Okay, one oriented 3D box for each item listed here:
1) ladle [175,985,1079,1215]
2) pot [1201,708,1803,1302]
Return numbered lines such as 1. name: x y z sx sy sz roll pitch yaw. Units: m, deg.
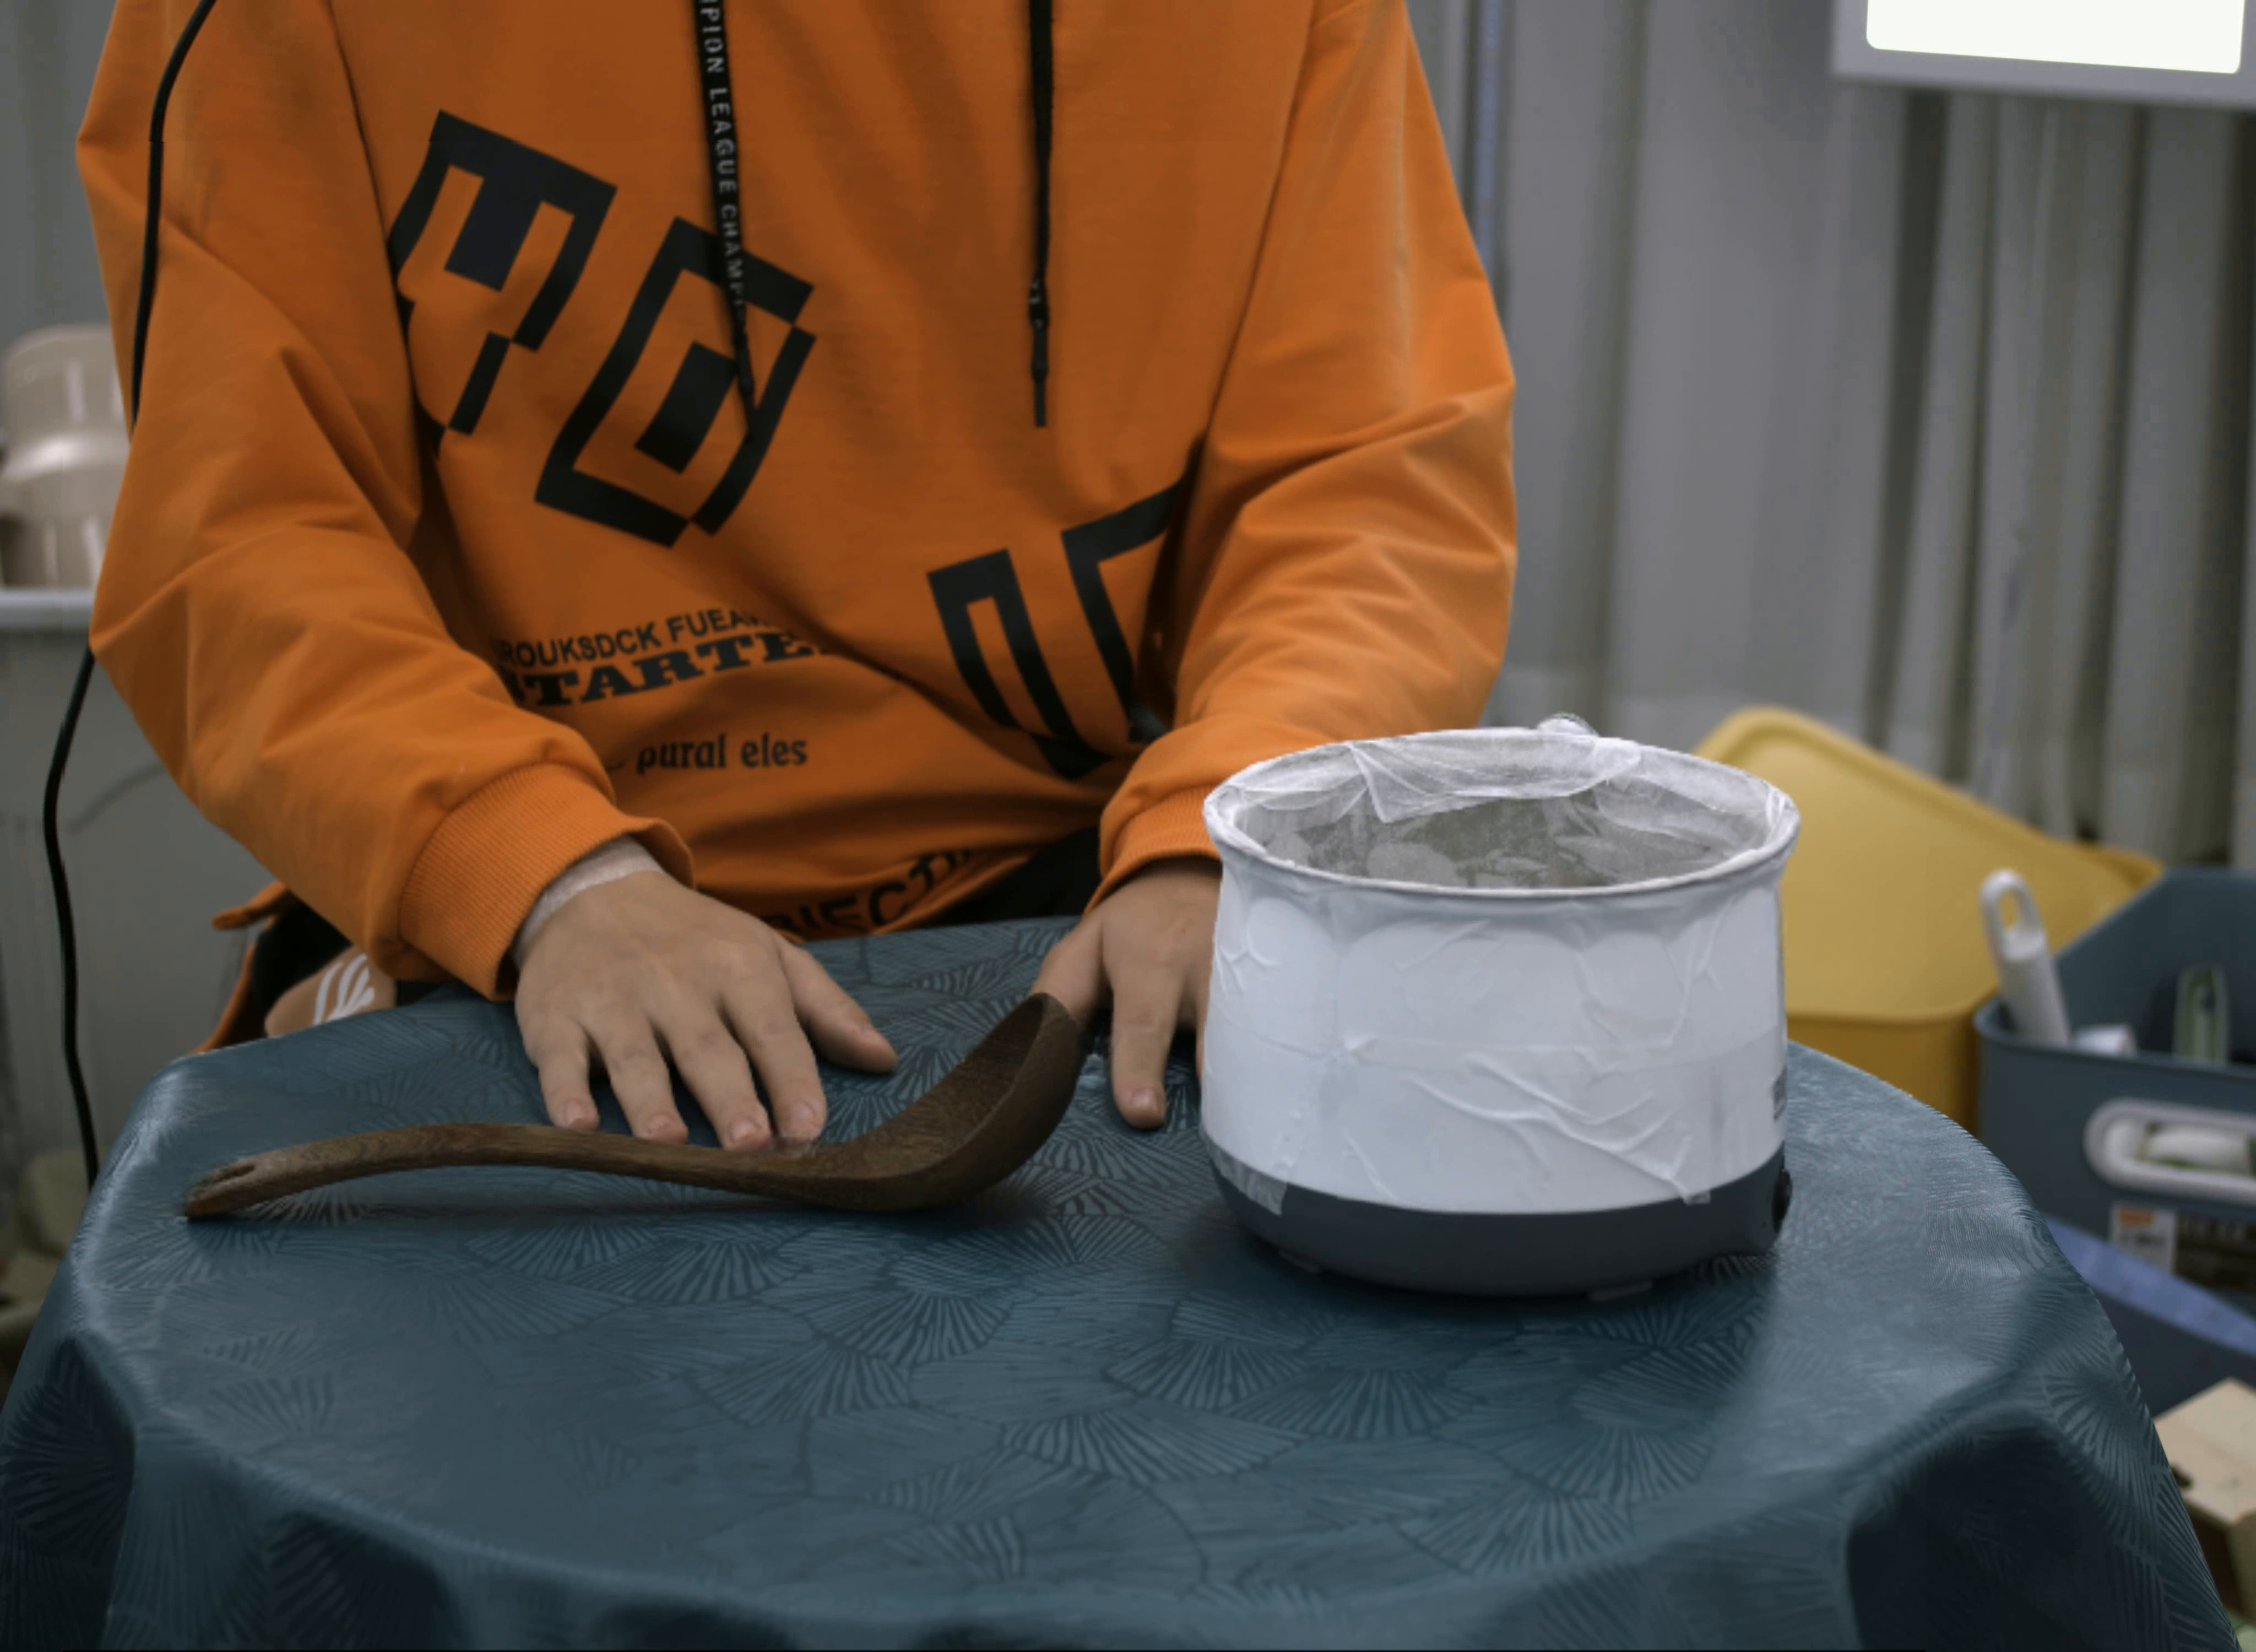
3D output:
1. ladle: -0.152 0.083 1.594 0.273 0.072 0.075 0 13 -3
2. pot: 0.117 0.048 1.600 0.177 0.138 0.233 5 17 13
